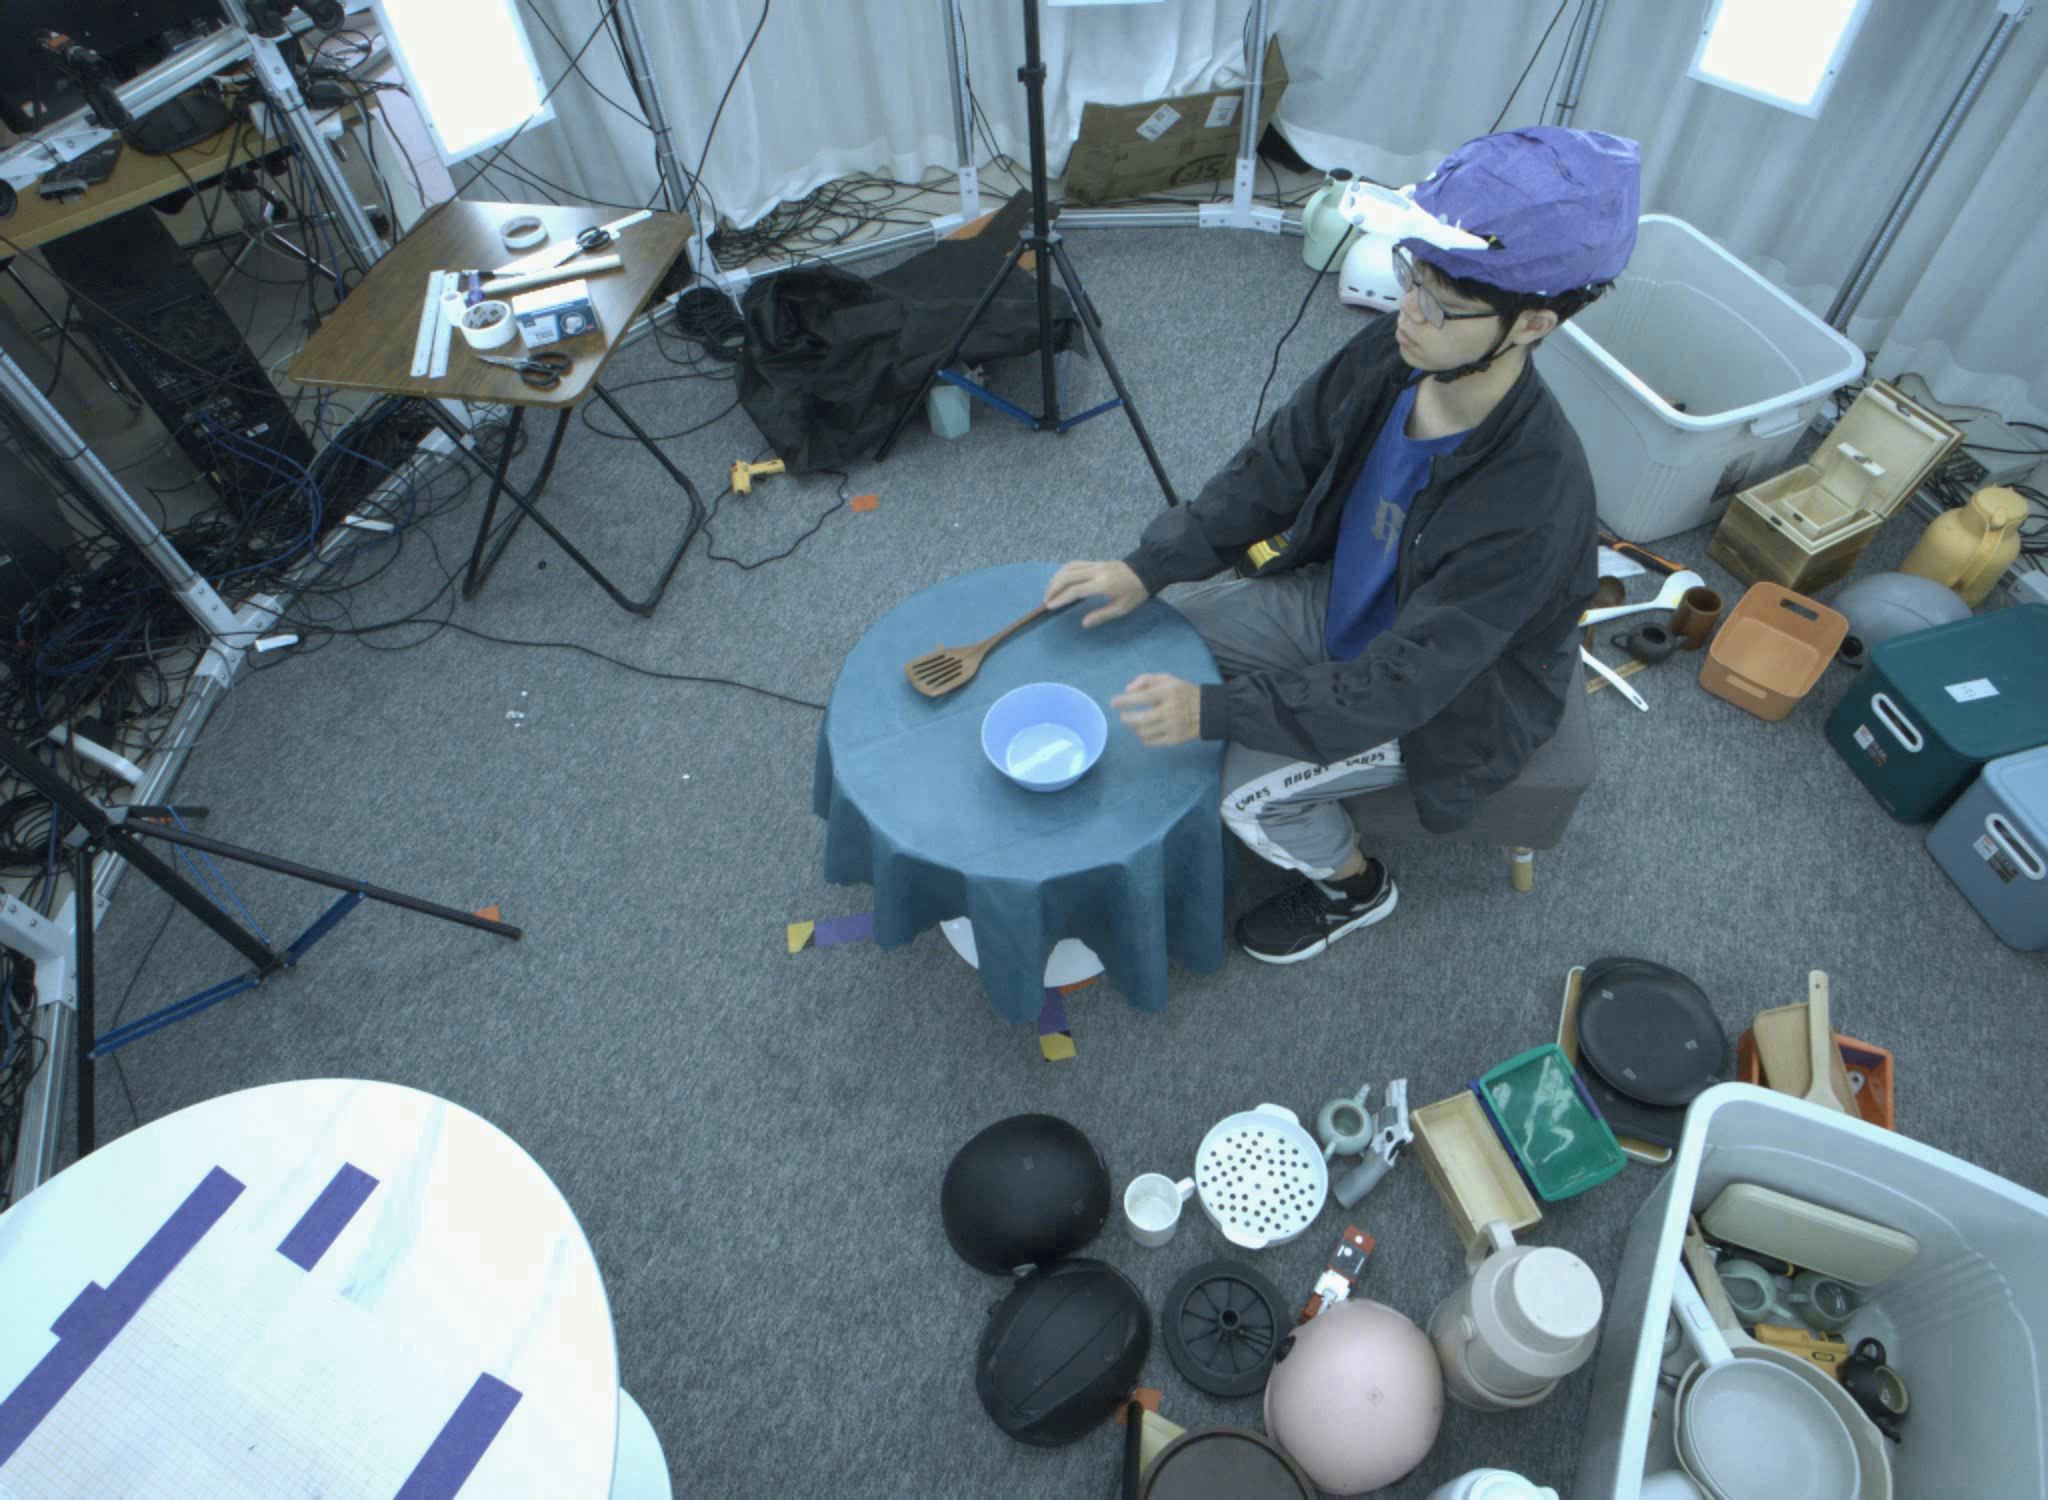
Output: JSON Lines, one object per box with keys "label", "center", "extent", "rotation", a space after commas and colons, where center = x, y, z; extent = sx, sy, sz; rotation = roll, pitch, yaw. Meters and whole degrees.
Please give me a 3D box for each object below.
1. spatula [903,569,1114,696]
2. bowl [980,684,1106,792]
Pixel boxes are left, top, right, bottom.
{"label": "spatula", "center": [-0.013, -0.189, 1.902], "extent": [0.390, 0.024, 0.084], "rotation": [-32, 59, -21]}
{"label": "bowl", "center": [0.028, -0.007, 1.739], "extent": [0.176, 0.071, 0.174], "rotation": [0, 54, 1]}
